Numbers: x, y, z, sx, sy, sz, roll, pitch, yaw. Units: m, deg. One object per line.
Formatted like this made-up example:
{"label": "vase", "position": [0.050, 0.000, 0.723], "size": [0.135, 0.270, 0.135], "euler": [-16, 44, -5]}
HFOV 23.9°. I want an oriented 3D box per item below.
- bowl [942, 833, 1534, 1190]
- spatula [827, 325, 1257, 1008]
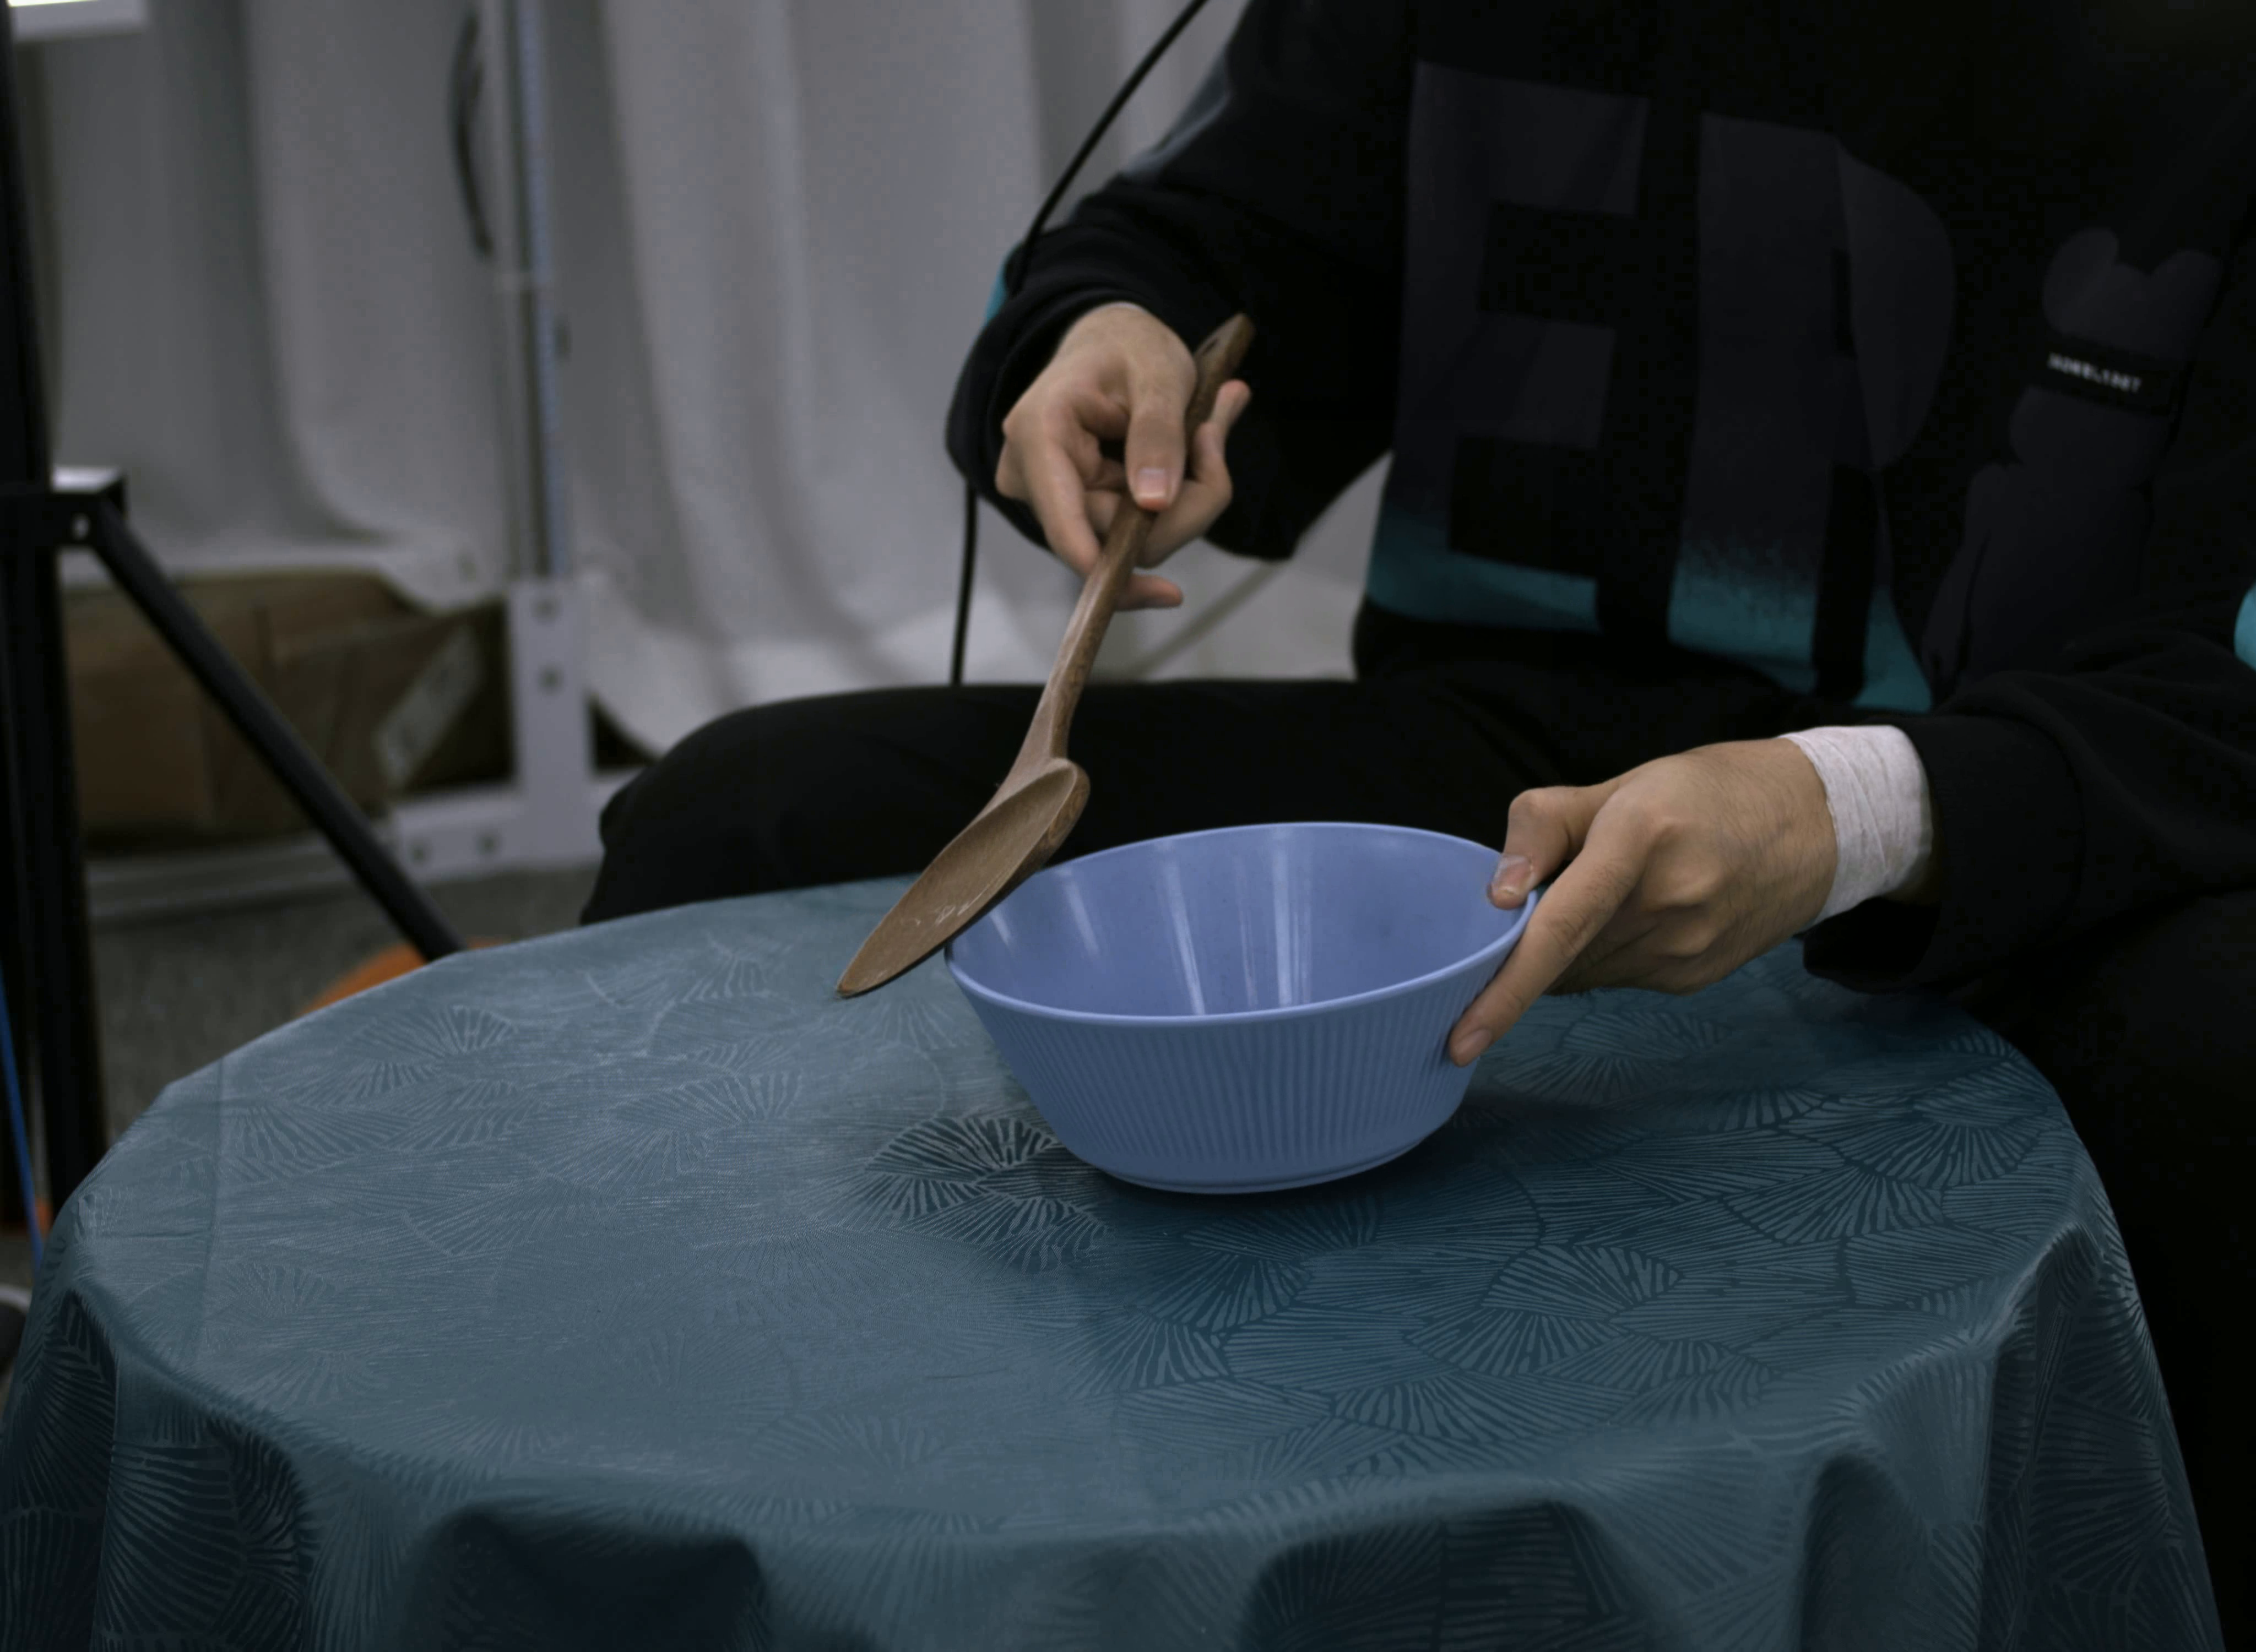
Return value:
{"label": "bowl", "position": [0.034, 0.058, 1.577], "size": [0.175, 0.070, 0.177], "euler": [-5, 16, 0]}
{"label": "spatula", "position": [-0.012, -0.065, 1.714], "size": [0.097, 0.015, 0.385], "euler": [-35, 19, 34]}
